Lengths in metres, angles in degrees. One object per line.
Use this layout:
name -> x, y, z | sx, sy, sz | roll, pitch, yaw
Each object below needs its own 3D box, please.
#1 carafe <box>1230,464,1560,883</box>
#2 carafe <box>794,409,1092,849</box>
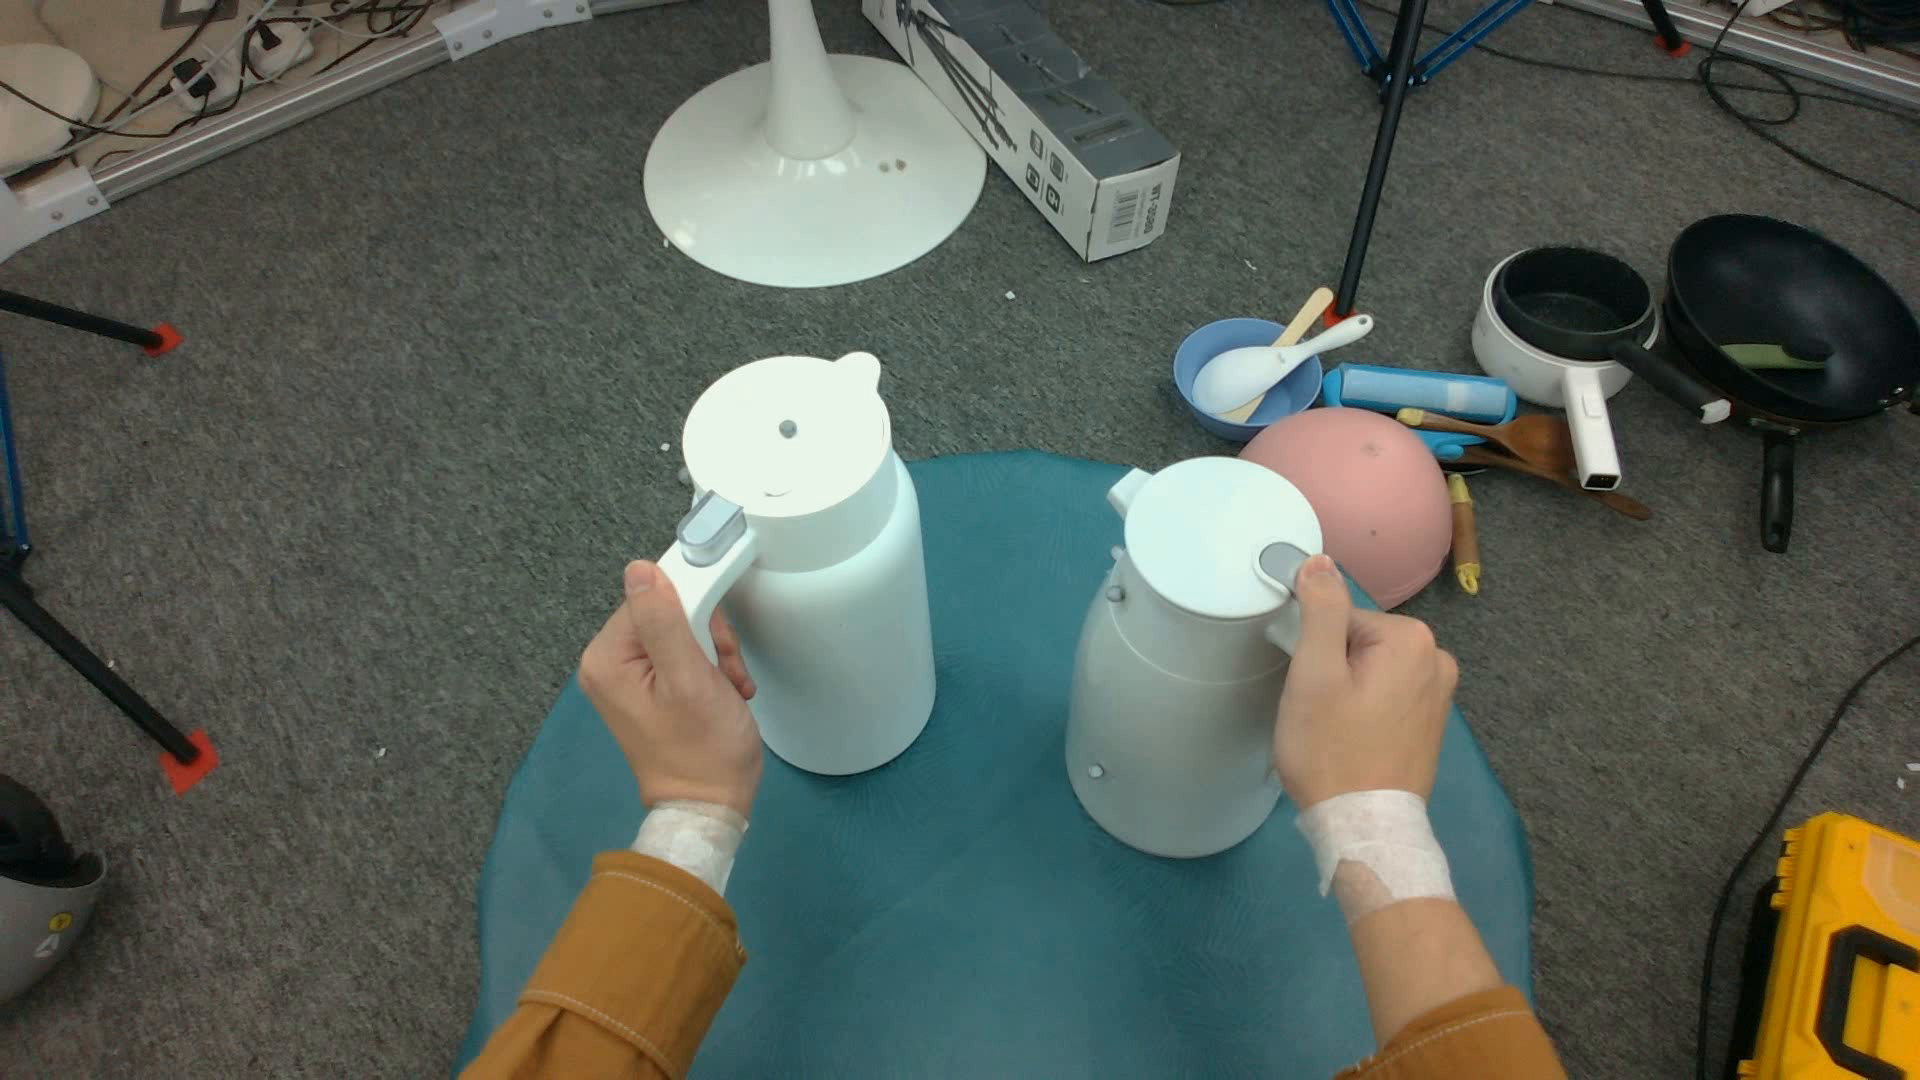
carafe -> 0.221, 0.076, 0.710 | 0.168, 0.247, 0.133 | 30, 65, 30
carafe -> -0.006, 0.076, 0.751 | 0.124, 0.268, 0.173 | 18, 59, 23
